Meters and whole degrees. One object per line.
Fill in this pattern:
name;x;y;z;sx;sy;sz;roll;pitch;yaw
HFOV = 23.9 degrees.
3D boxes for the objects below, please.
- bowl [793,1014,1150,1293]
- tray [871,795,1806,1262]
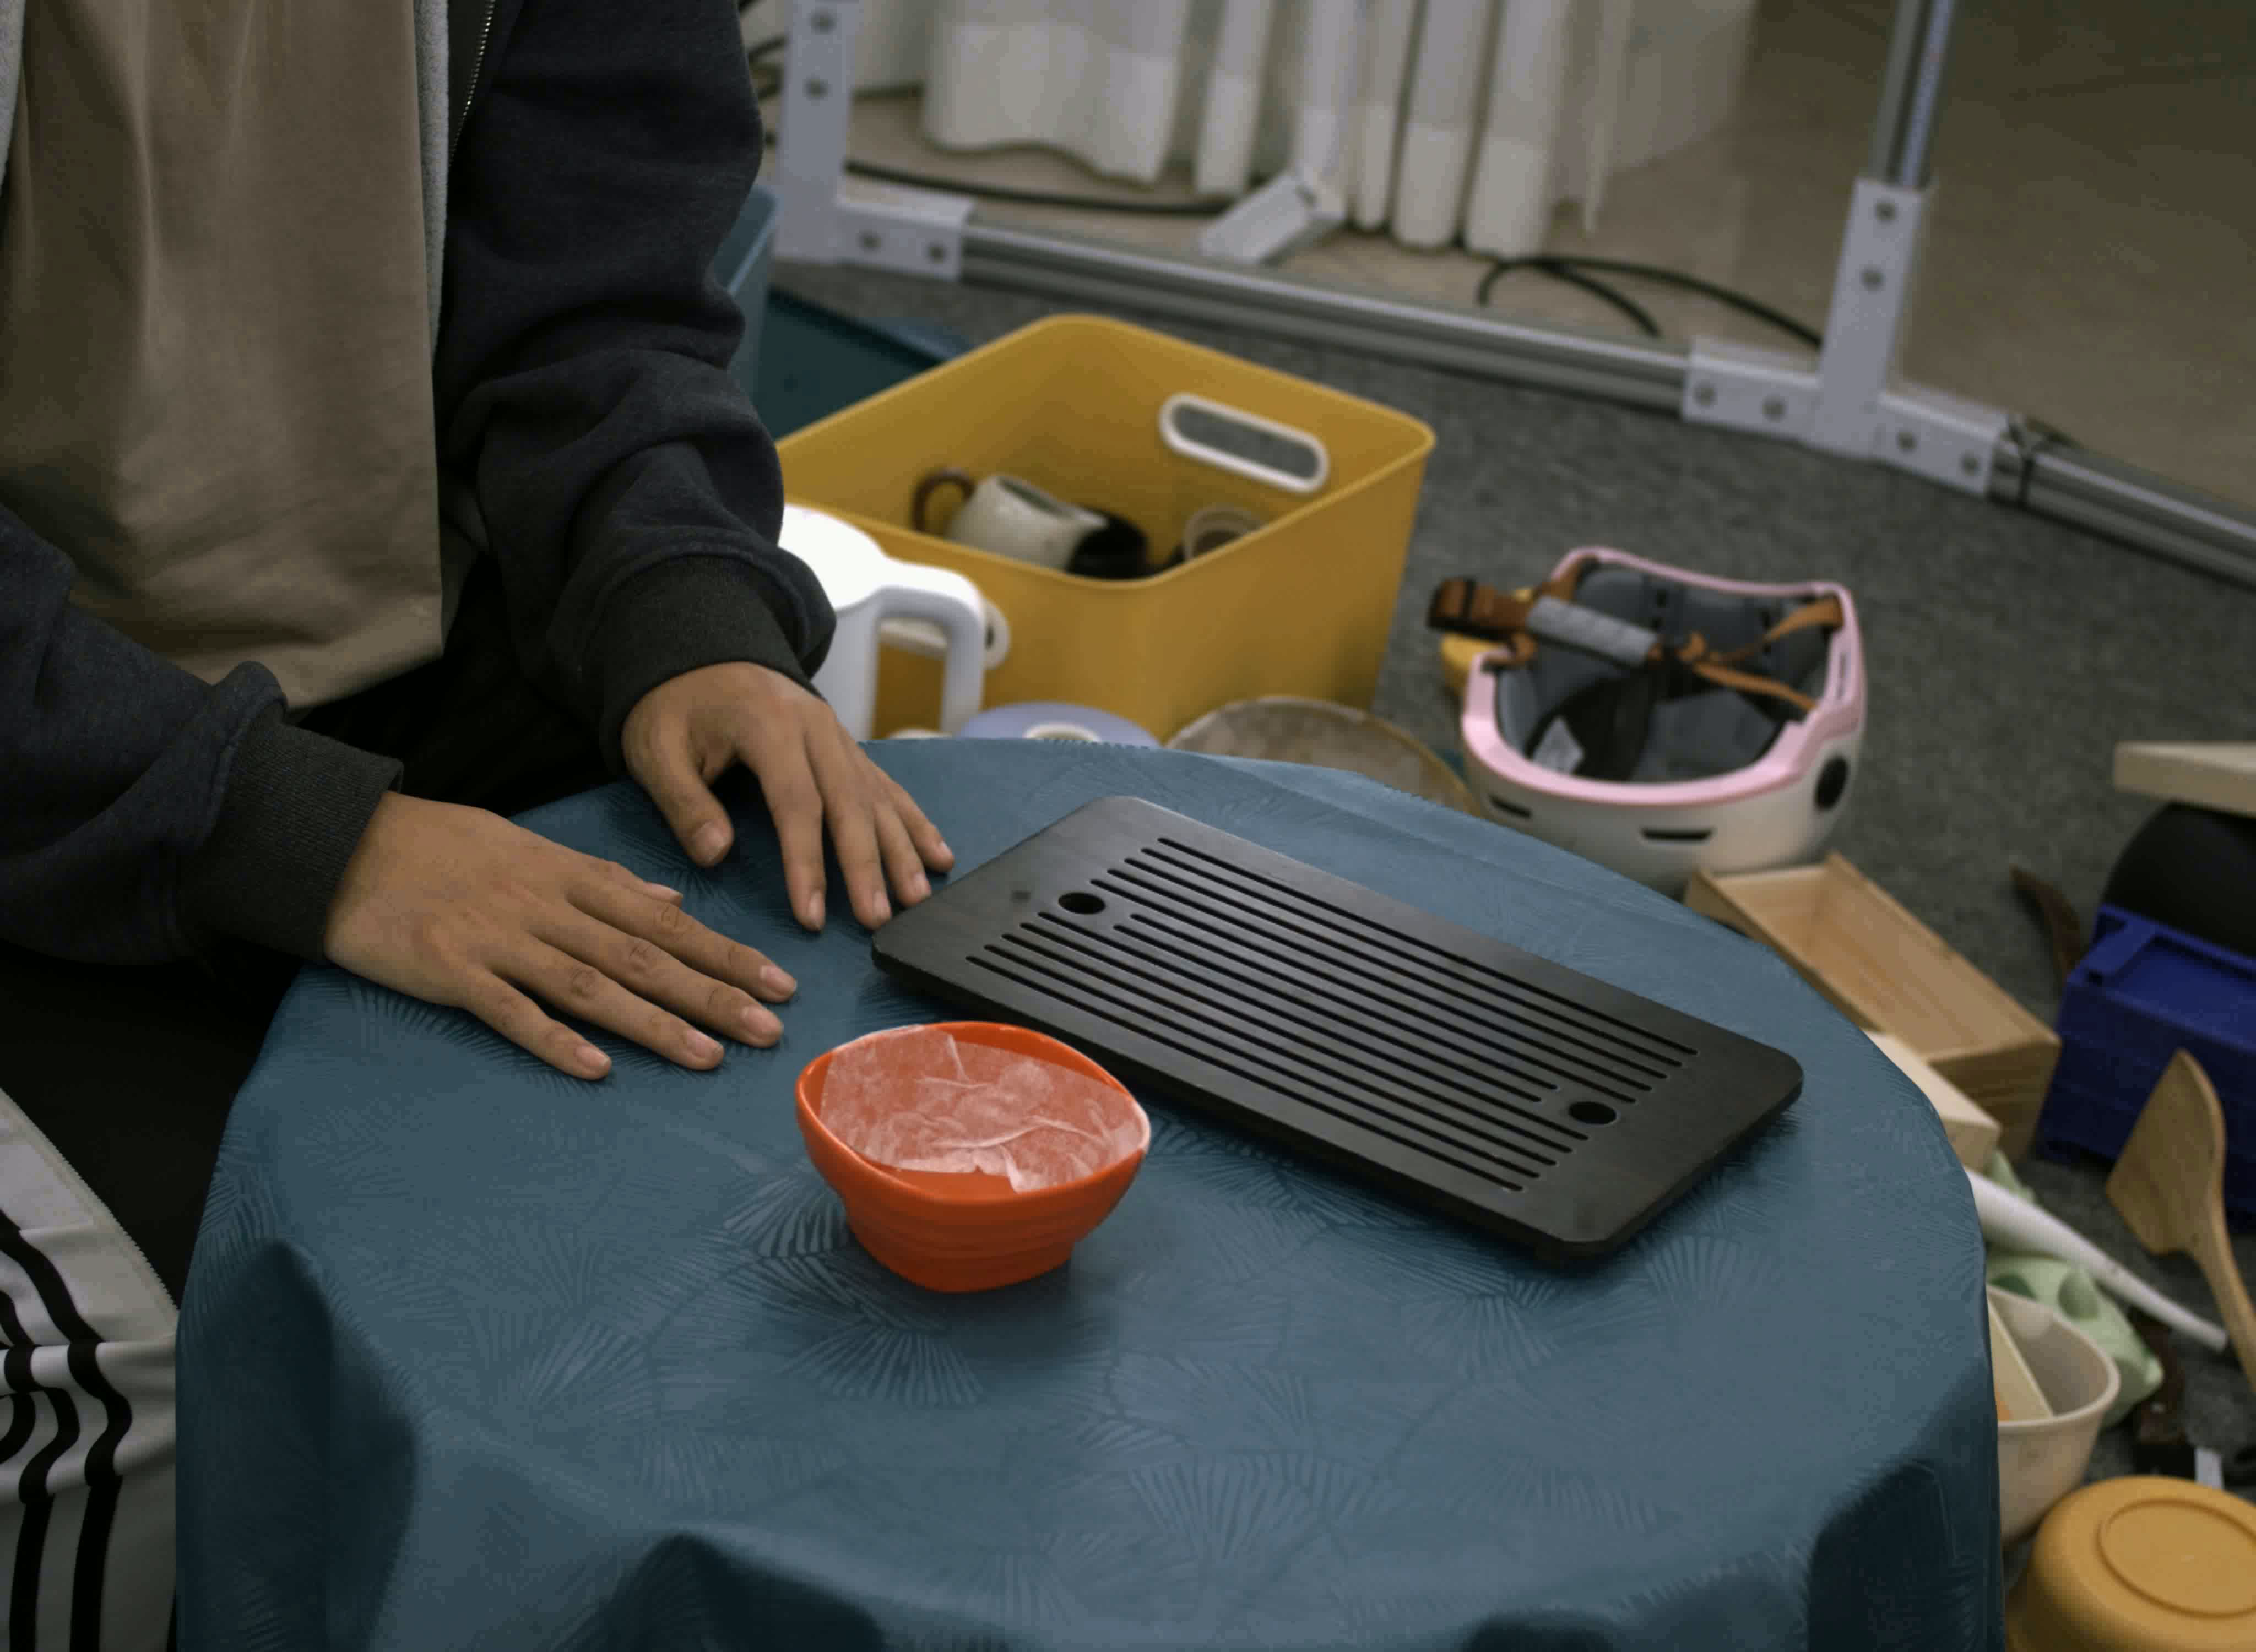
bowl;-0.054;0.112;1.753;0.118;0.051;0.119;5;28;-3
tray;0.074;0.070;1.904;0.307;0.018;0.169;21;31;27
